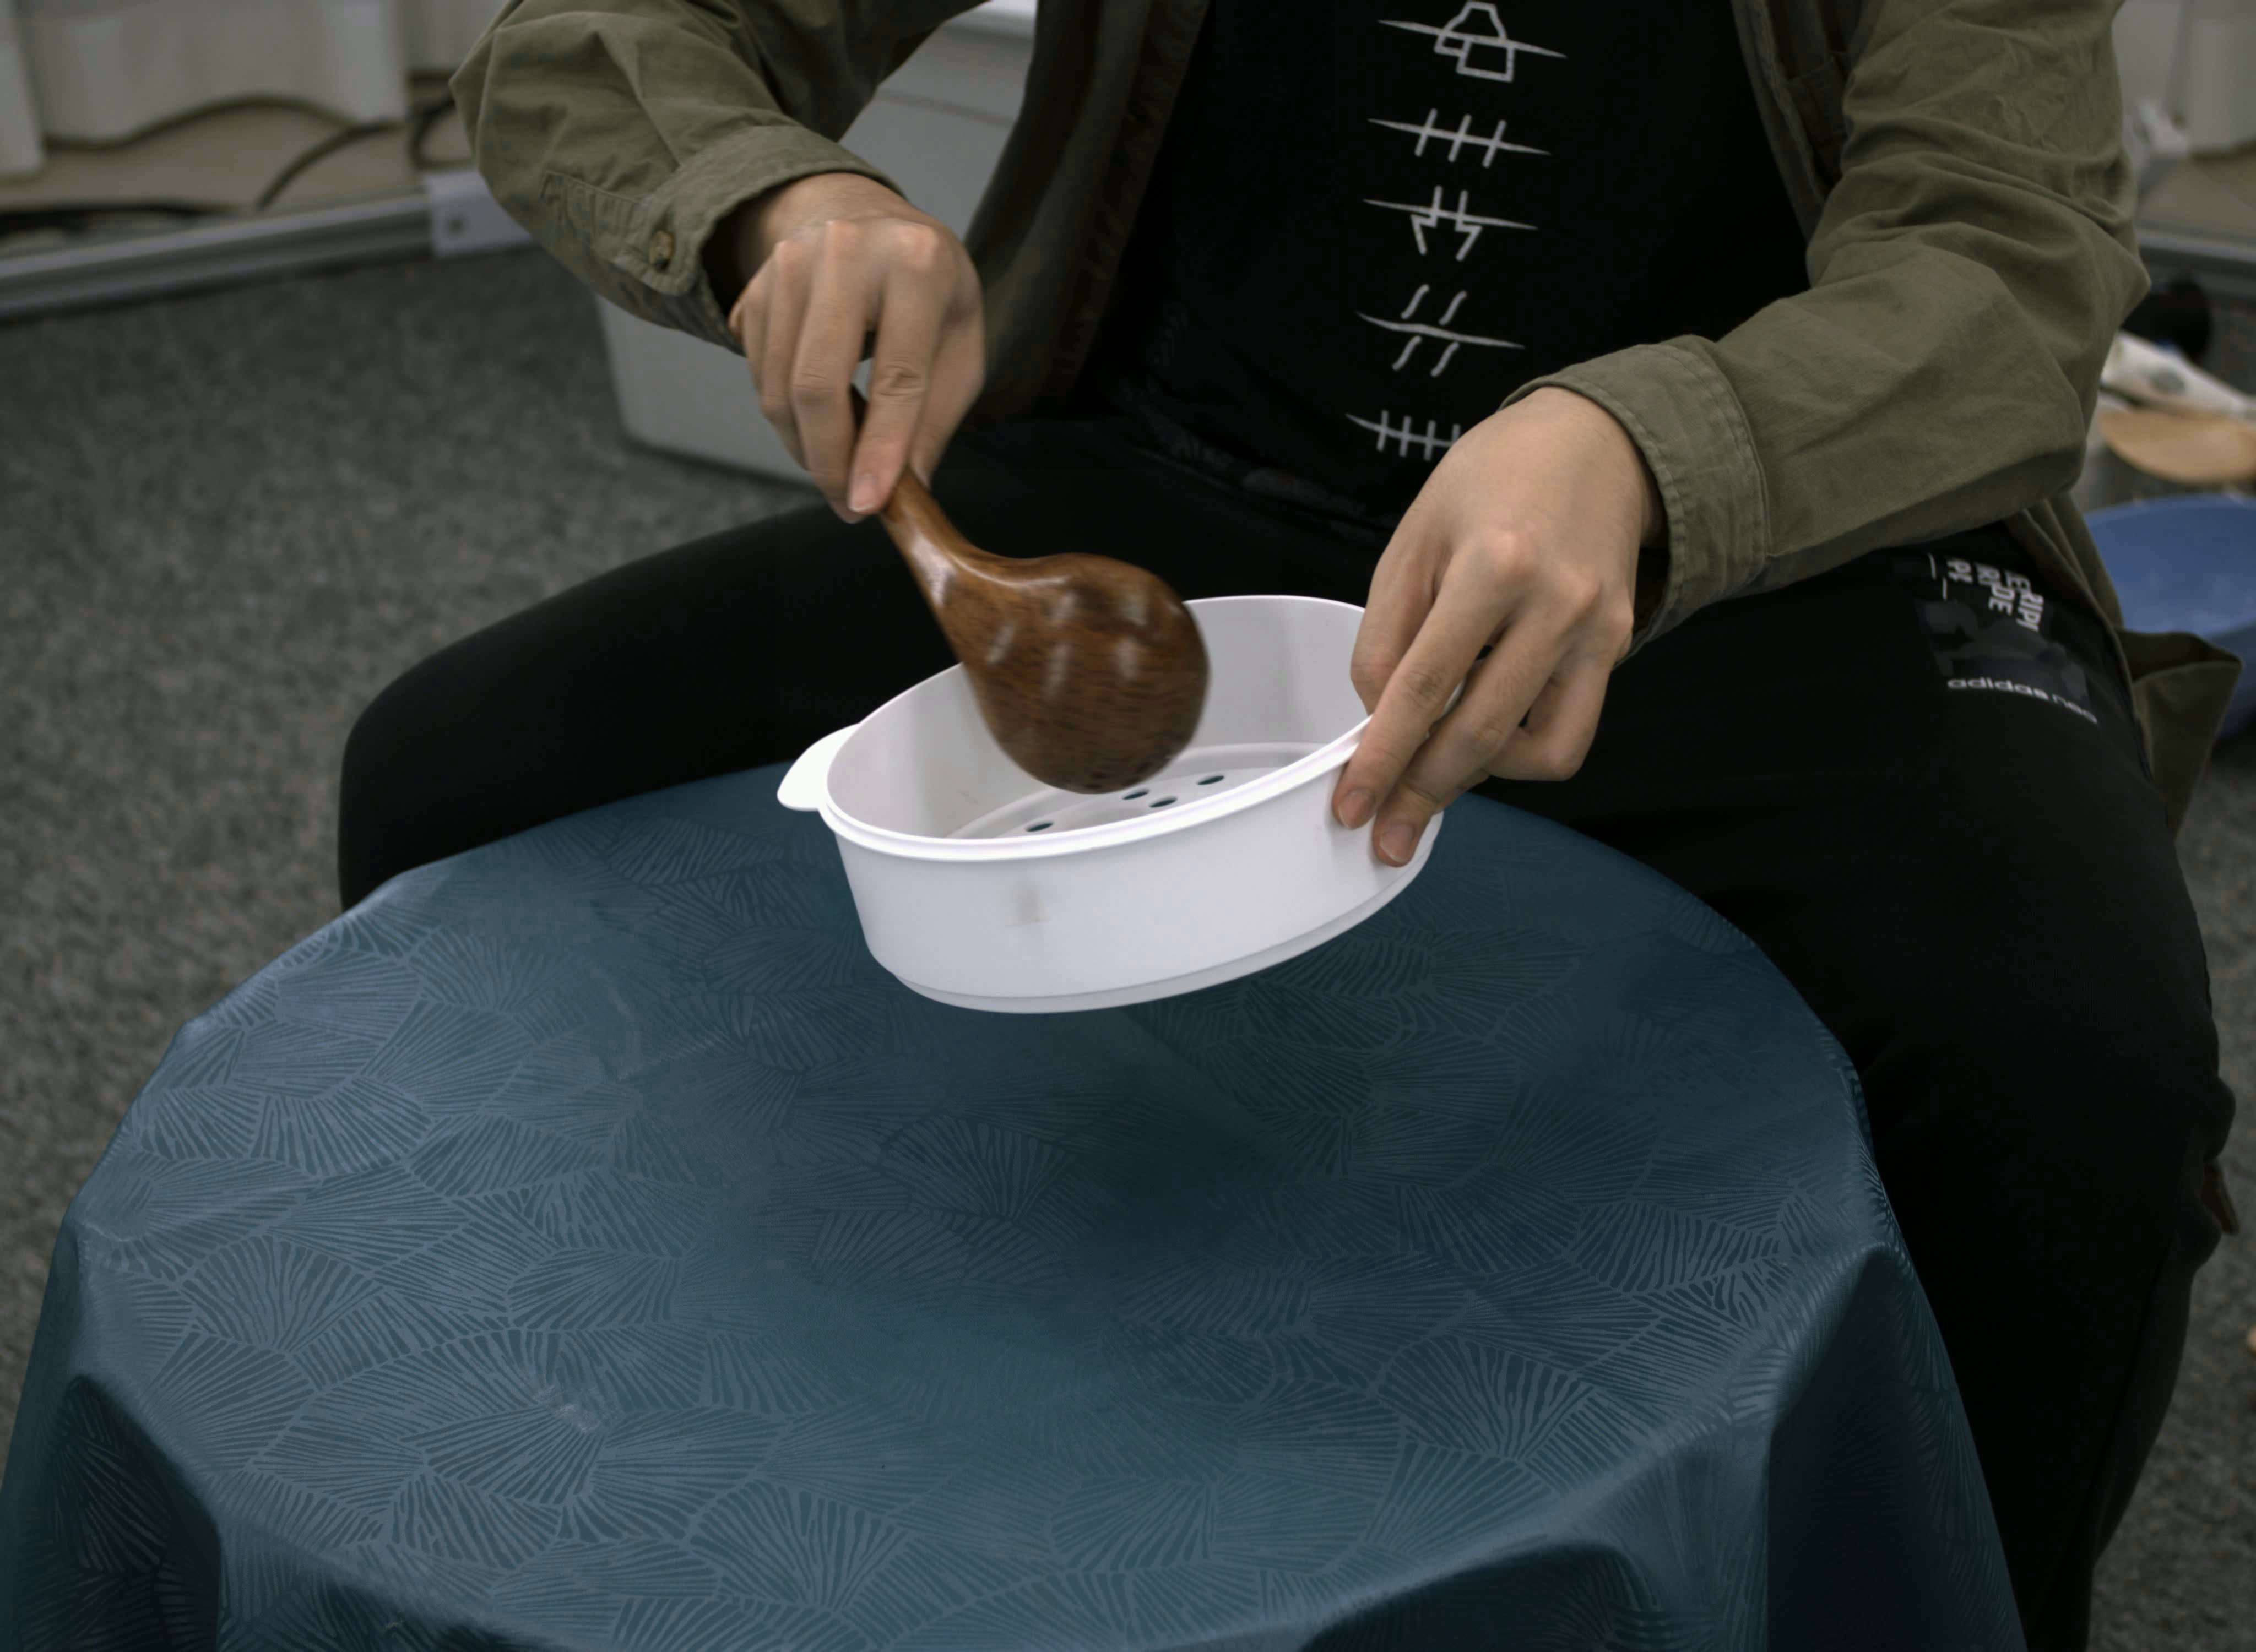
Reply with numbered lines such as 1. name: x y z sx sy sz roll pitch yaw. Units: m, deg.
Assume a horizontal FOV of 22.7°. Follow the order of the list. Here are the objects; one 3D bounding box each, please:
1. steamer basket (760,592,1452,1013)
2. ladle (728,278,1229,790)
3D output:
1. steamer basket: -0.002 -0.007 1.821 0.228 0.069 0.205 -7 22 16
2. ladle: -0.052 -0.109 1.928 0.076 0.081 0.277 19 22 -38
